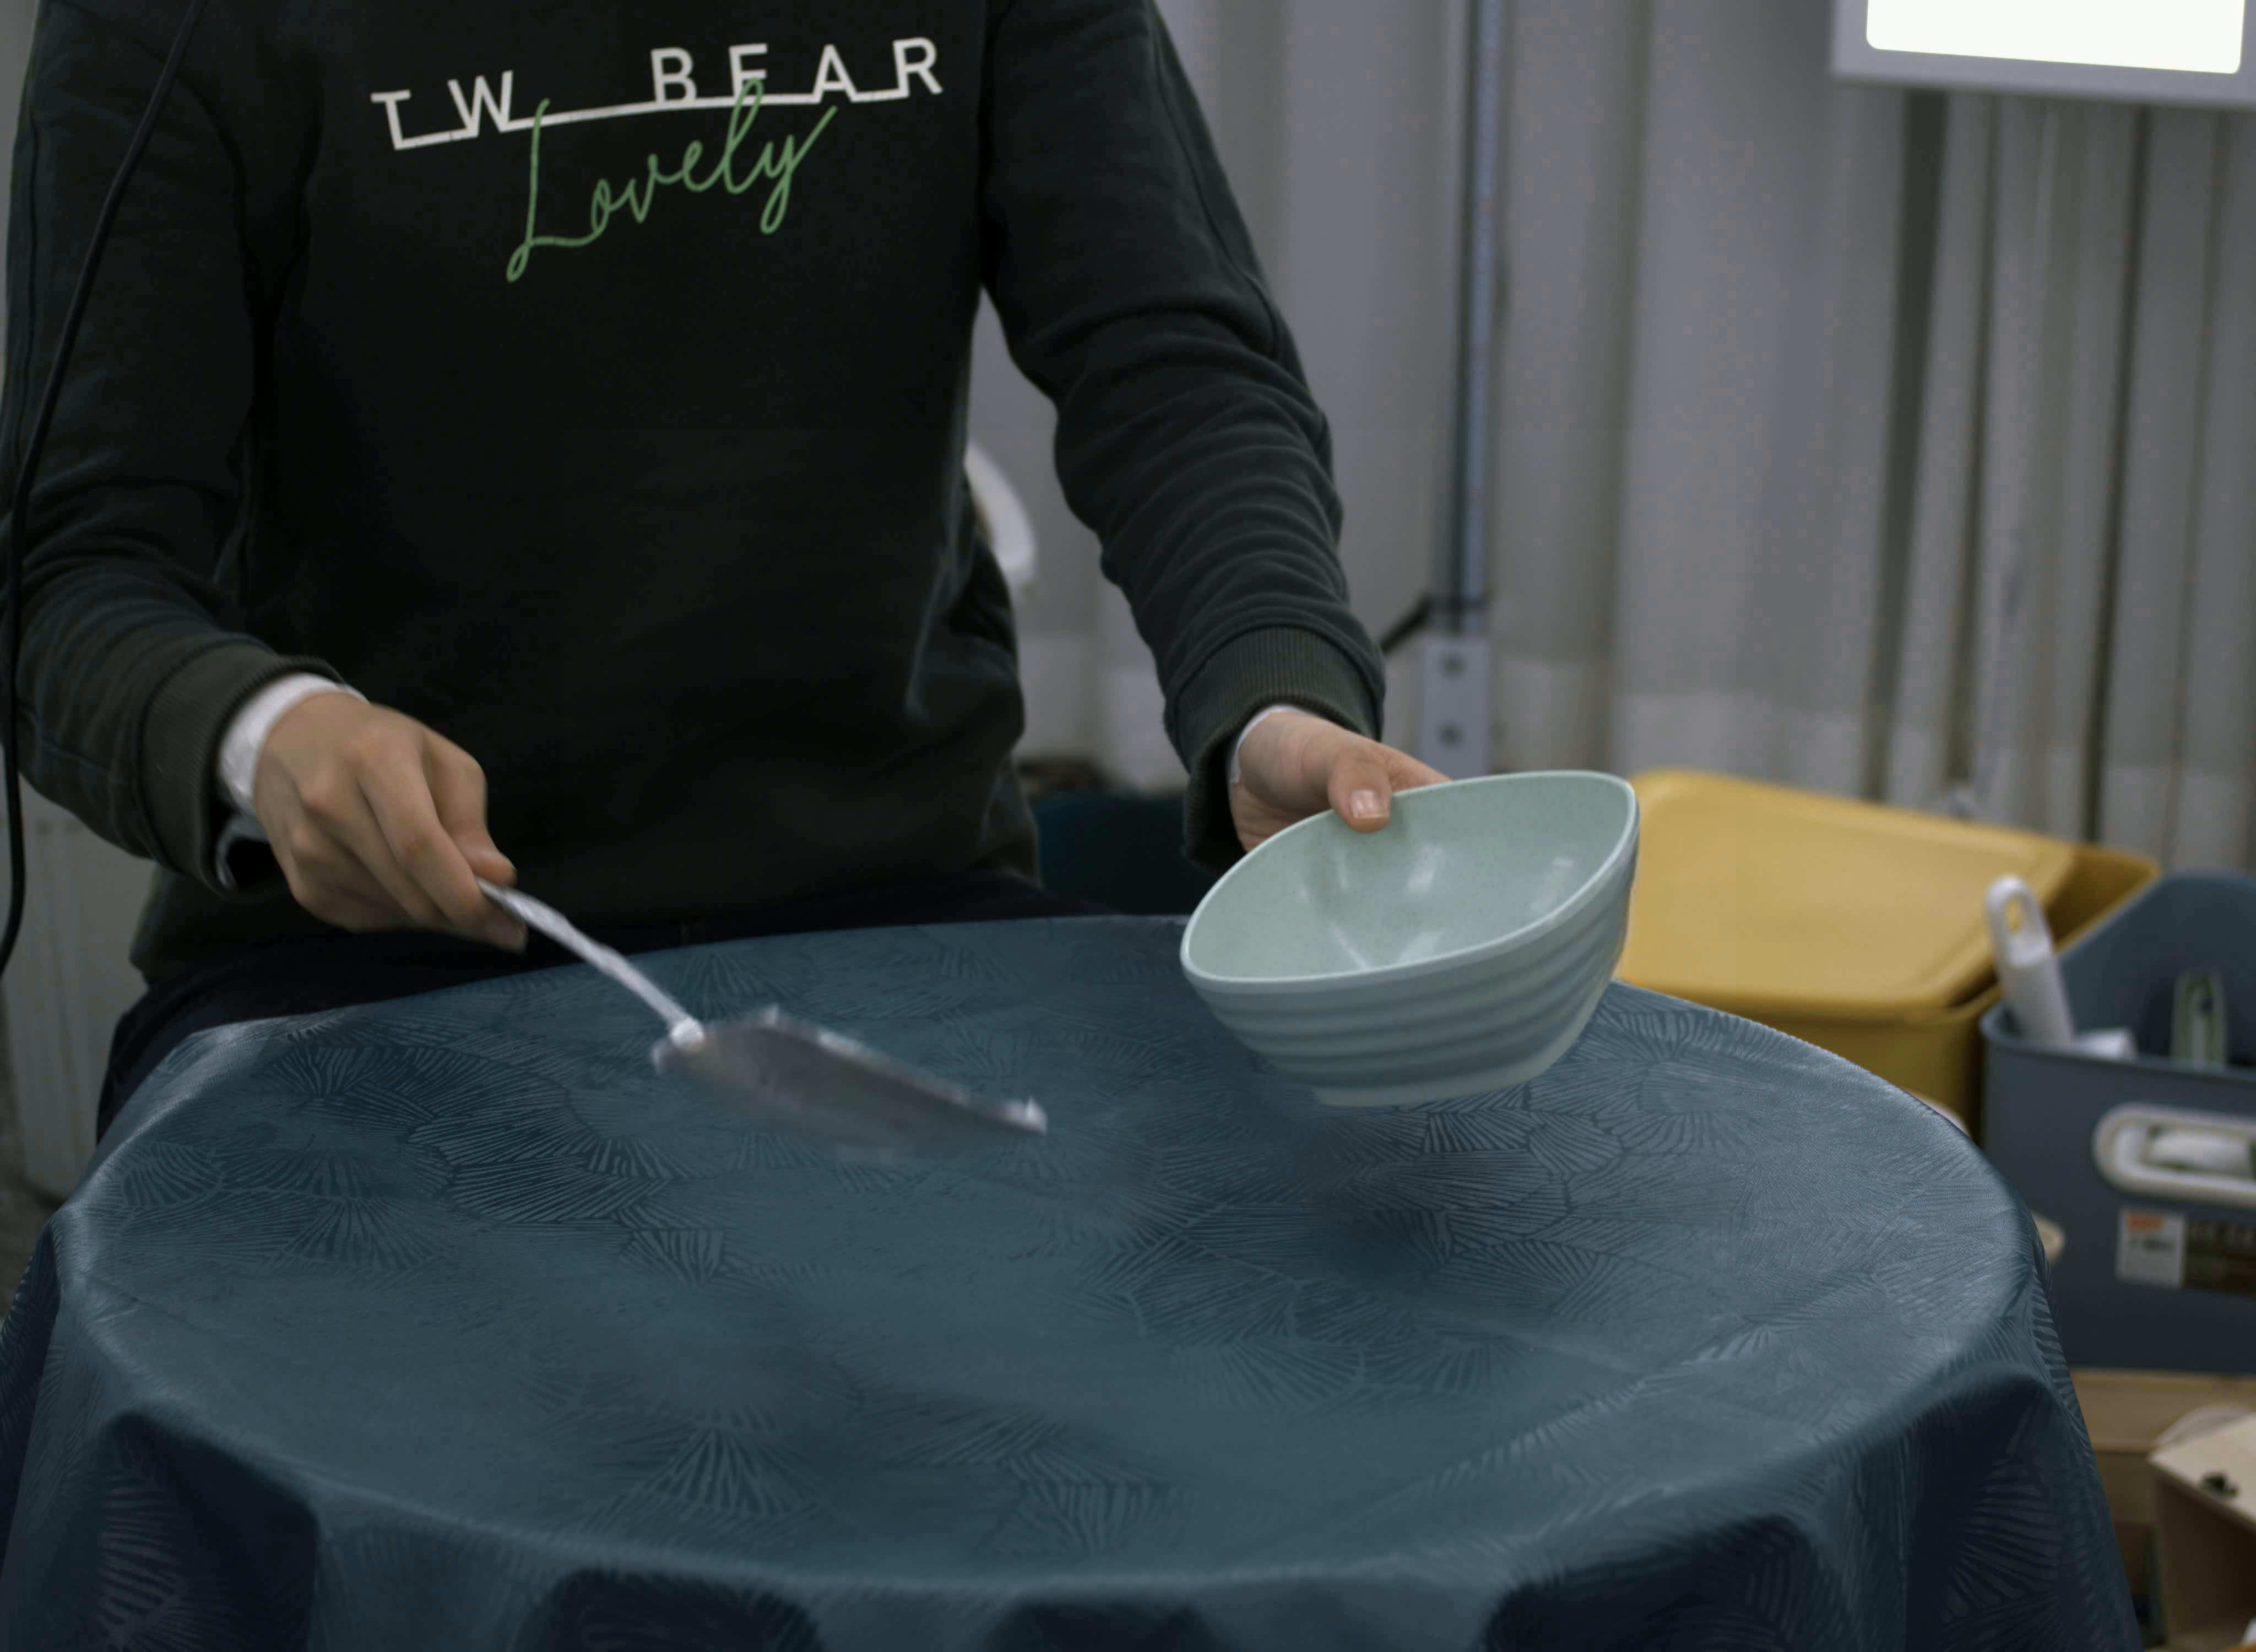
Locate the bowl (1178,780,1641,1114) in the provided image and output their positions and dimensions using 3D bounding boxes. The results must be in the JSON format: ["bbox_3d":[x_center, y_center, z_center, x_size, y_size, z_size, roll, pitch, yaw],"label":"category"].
[{"bbox_3d":[0.091,0.042,1.600,0.151,0.059,0.150,-12,23,6],"label":"bowl"}]

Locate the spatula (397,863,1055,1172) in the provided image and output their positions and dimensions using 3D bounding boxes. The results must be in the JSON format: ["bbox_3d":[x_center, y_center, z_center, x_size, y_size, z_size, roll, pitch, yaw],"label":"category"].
[{"bbox_3d":[-0.141,0.044,1.533,0.099,0.045,0.360,21,4,-33],"label":"spatula"}]
